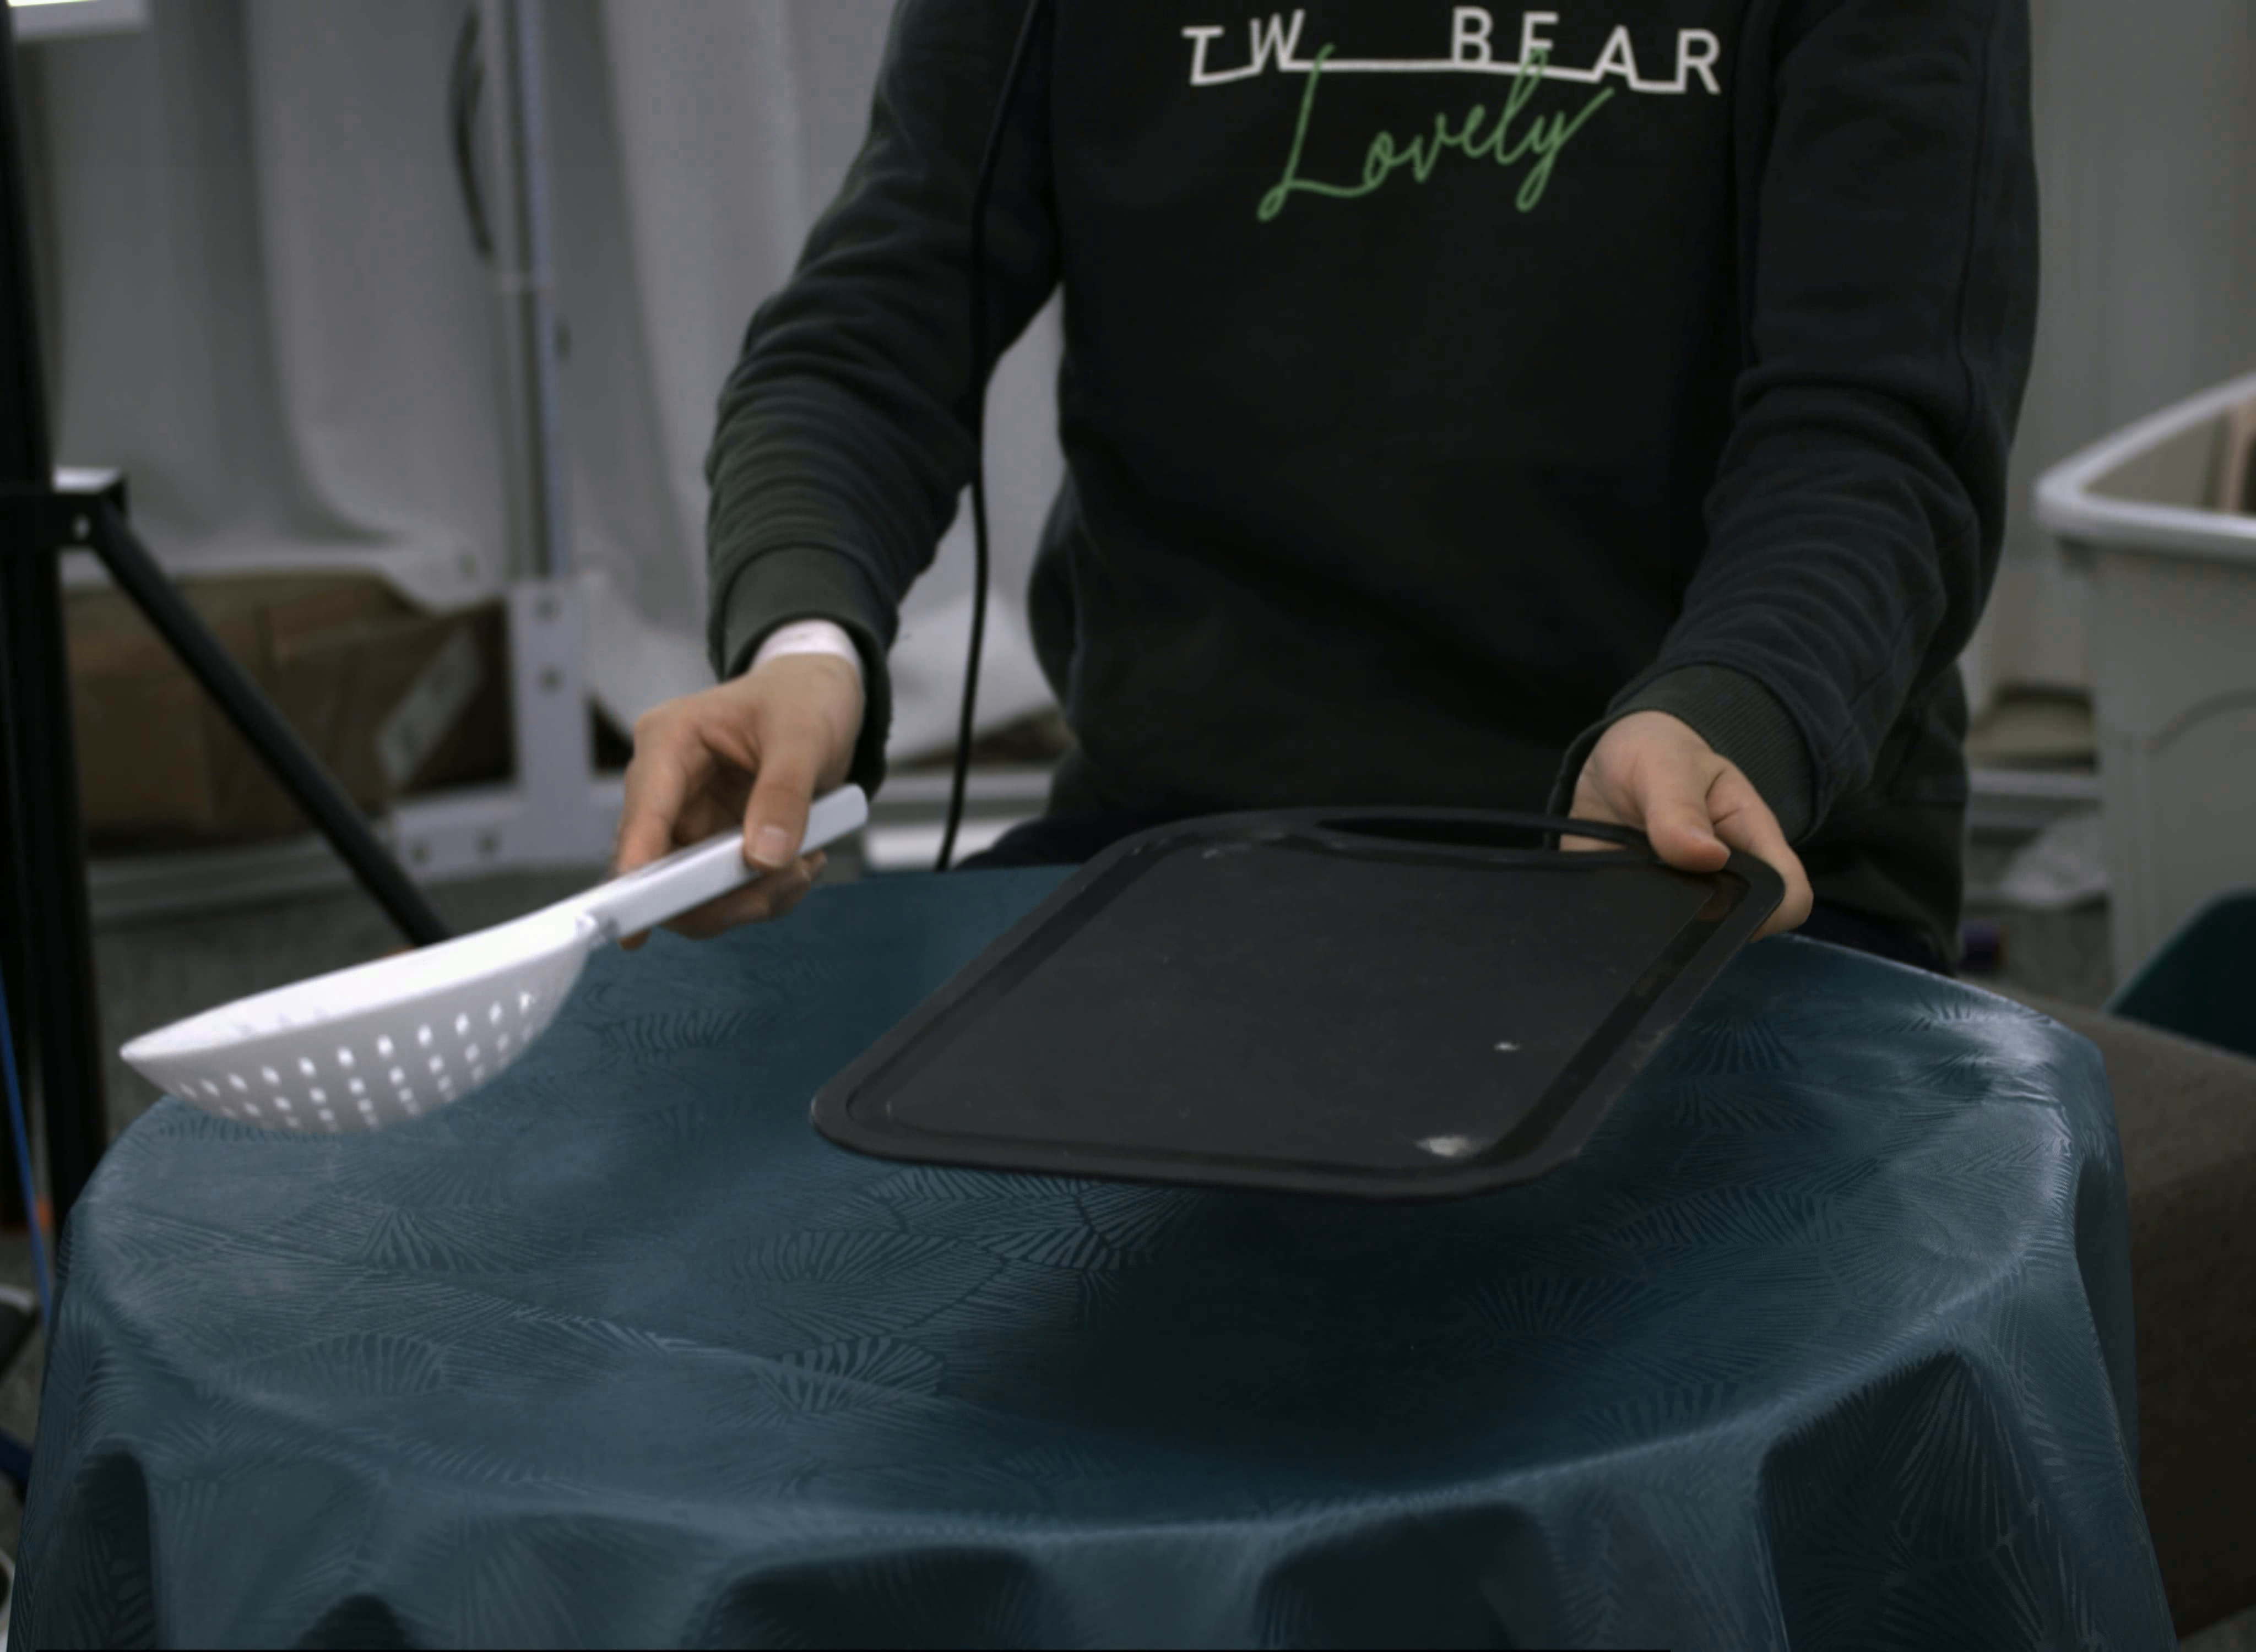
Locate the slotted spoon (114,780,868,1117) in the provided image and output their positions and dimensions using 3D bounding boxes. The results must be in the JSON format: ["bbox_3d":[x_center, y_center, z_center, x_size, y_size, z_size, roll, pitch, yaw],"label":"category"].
[{"bbox_3d":[-0.168,0.027,1.582,0.138,0.046,0.345,-12,11,27],"label":"slotted spoon"}]

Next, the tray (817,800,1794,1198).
[{"bbox_3d":[0.058,0.039,1.474,0.214,0.010,0.321,4,18,21],"label":"tray"}]
